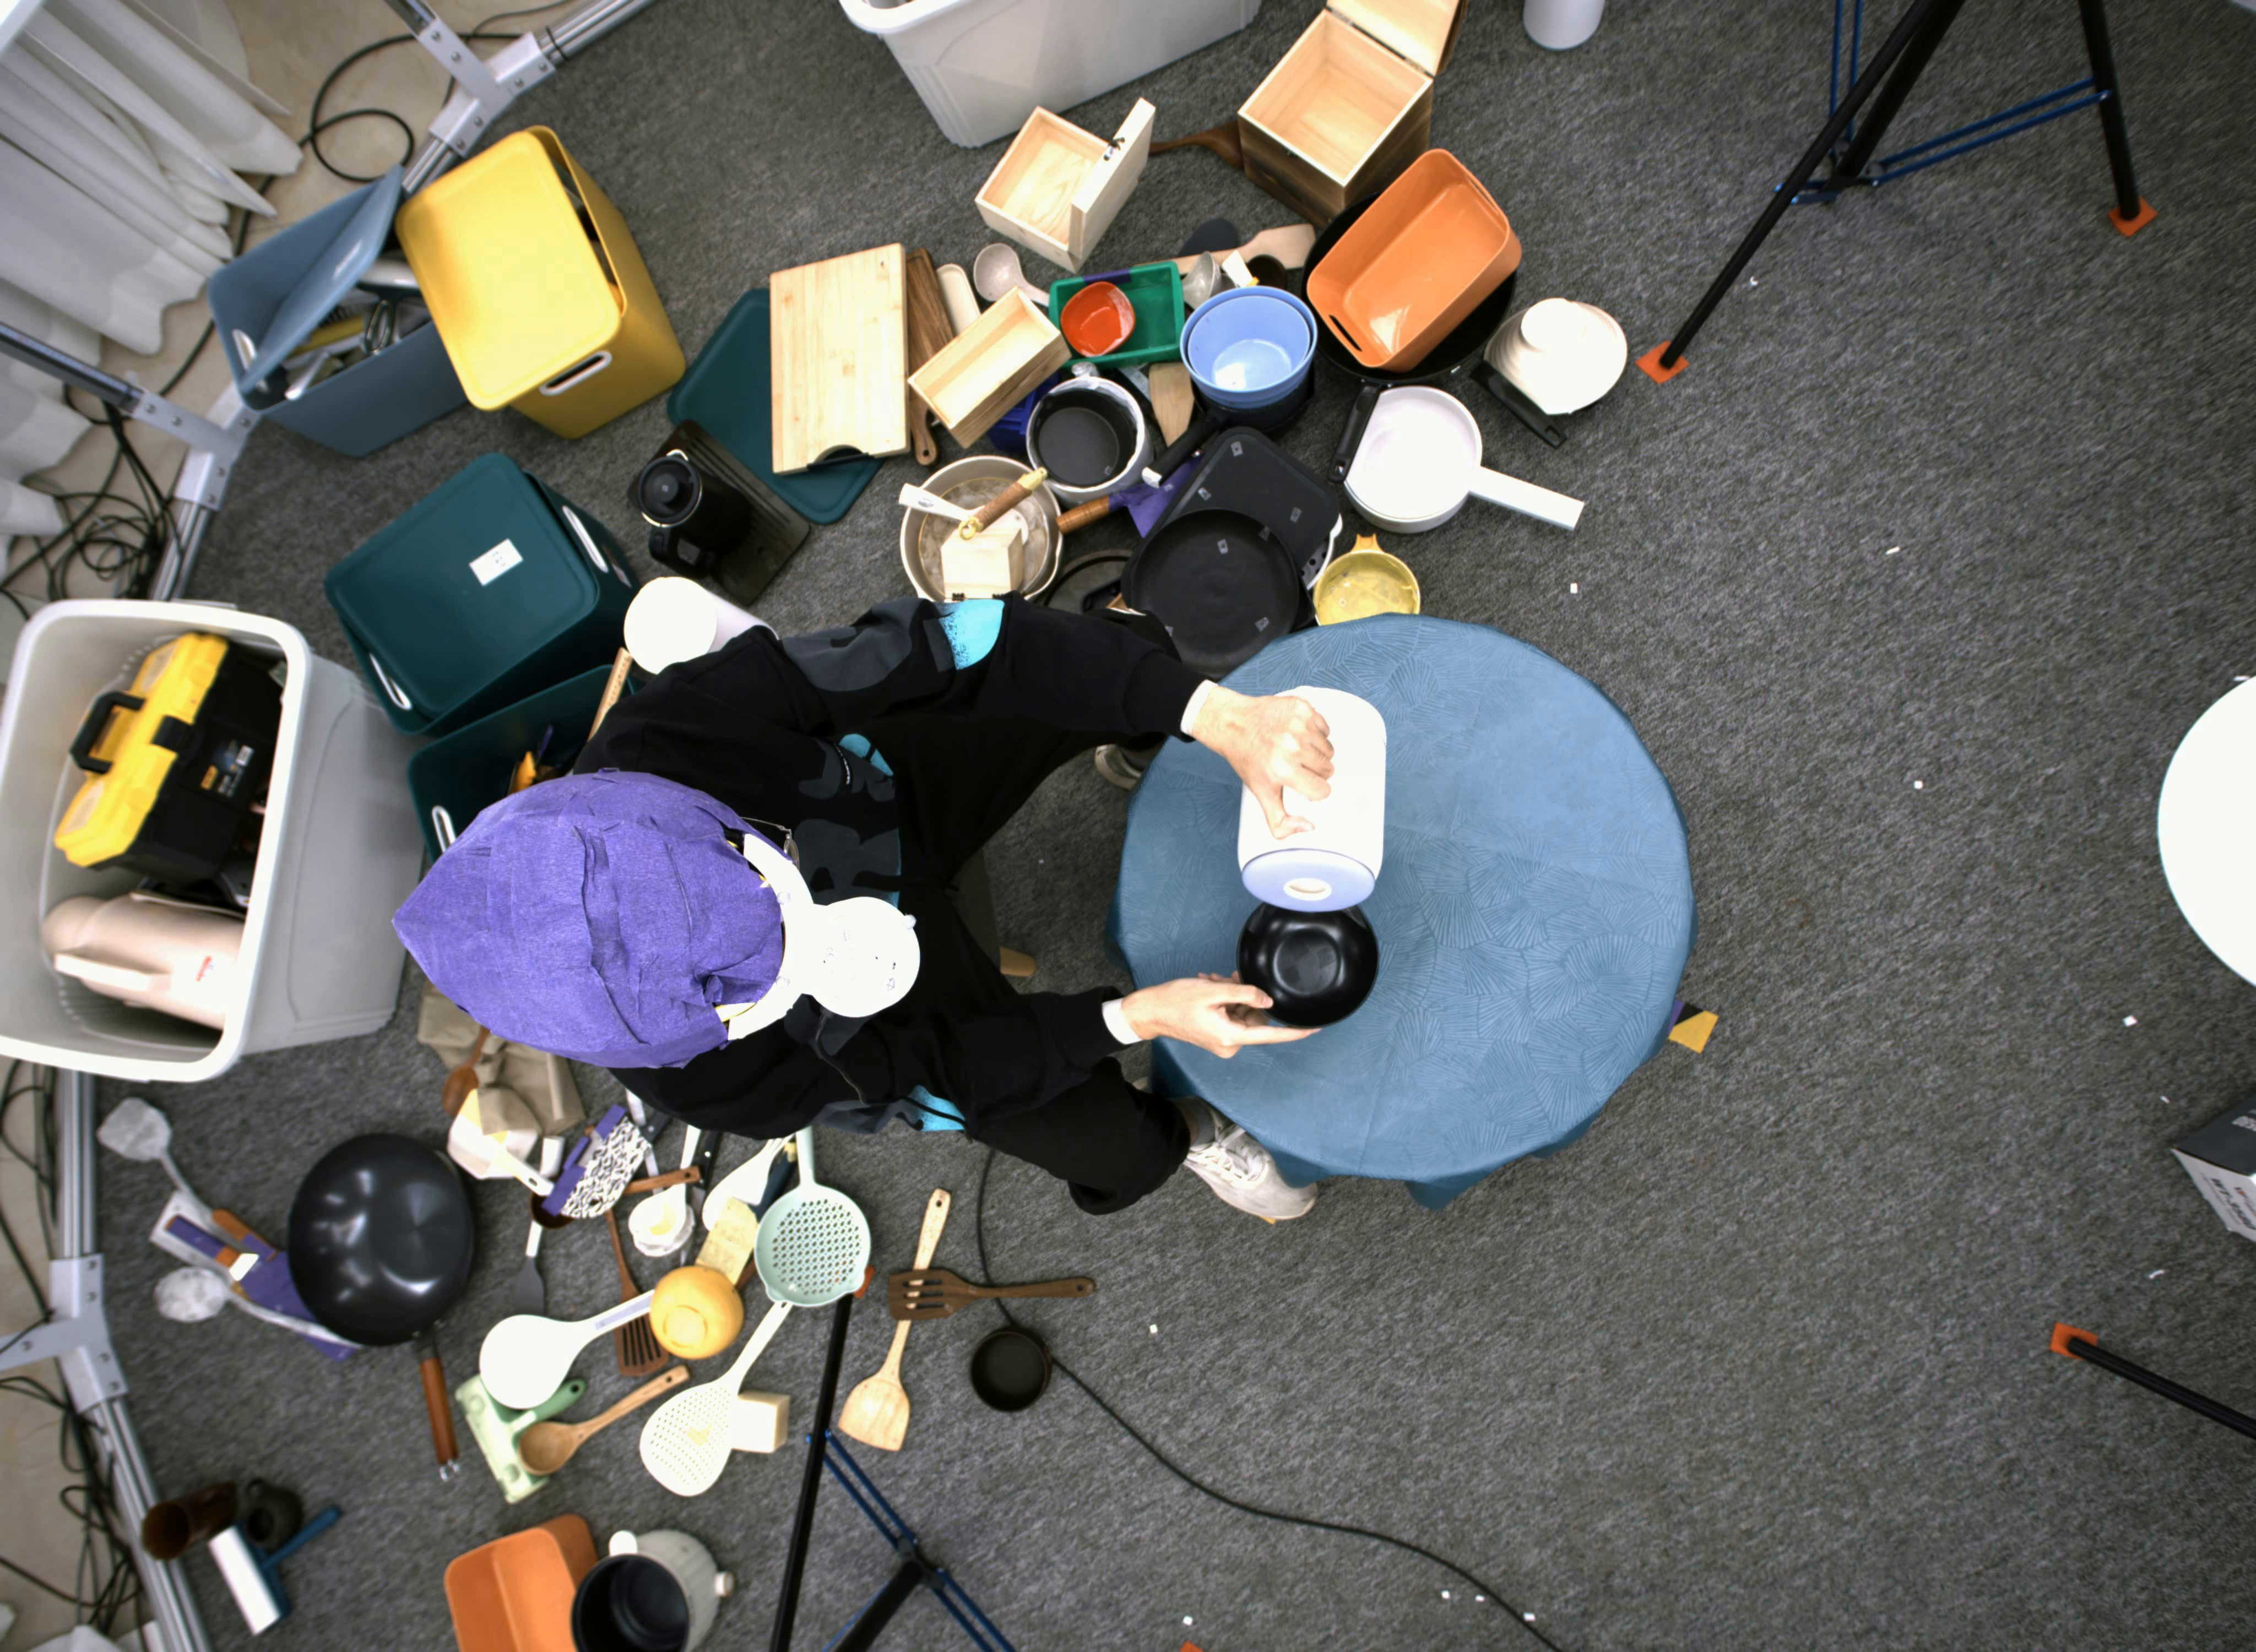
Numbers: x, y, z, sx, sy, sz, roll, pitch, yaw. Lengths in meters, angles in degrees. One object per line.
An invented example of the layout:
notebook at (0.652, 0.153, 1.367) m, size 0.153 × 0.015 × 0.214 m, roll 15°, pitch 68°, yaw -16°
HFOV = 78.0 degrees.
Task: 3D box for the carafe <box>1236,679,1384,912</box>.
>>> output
carafe at (0.161, -0.036, 1.243) m, size 0.133 × 0.194 × 0.178 m, roll -3°, pitch 60°, yaw 16°

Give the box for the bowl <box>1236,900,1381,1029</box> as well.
bowl at (0.176, 0.129, 1.356) m, size 0.140 × 0.050 × 0.139 m, roll -2°, pitch 81°, yaw 9°
